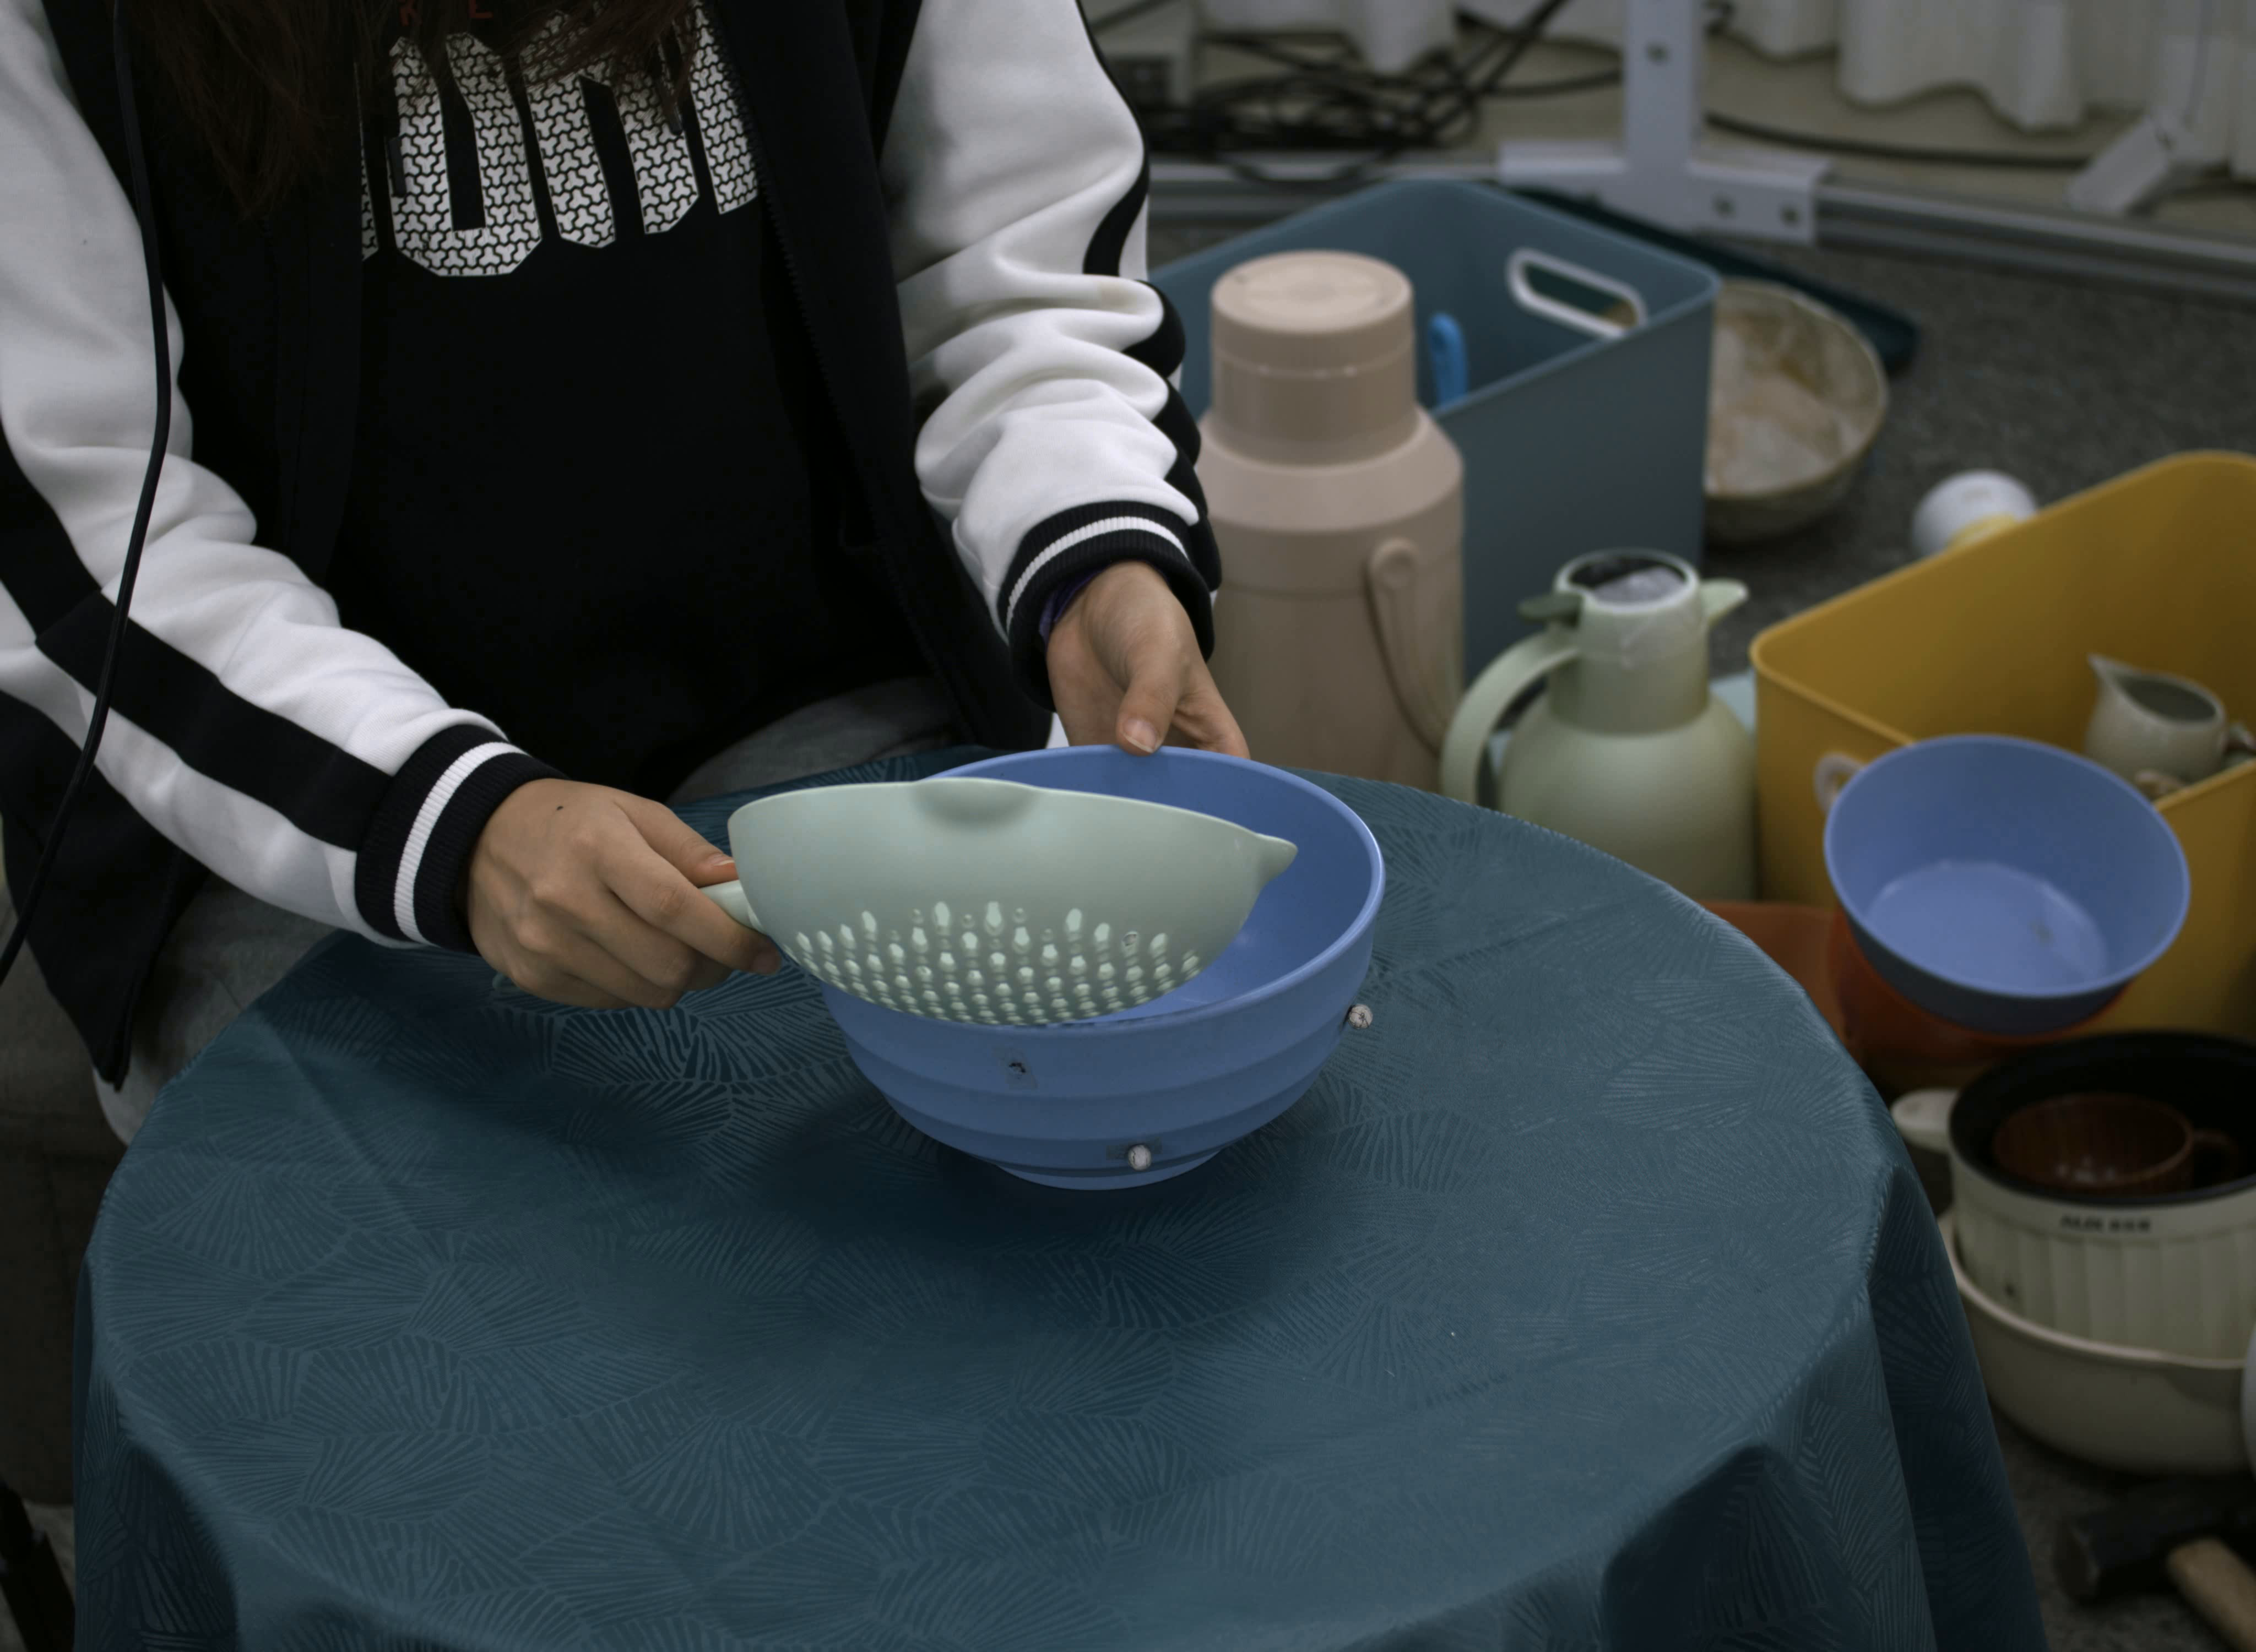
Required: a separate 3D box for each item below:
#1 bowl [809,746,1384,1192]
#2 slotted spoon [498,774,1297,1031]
[{"bbox_3d":[-0.010,0.059,1.882,0.195,0.094,0.199,-3,27,2],"label":"bowl"},{"bbox_3d":[-0.102,0.031,1.821,0.169,0.076,0.355,12,-9,-38],"label":"slotted spoon"}]
